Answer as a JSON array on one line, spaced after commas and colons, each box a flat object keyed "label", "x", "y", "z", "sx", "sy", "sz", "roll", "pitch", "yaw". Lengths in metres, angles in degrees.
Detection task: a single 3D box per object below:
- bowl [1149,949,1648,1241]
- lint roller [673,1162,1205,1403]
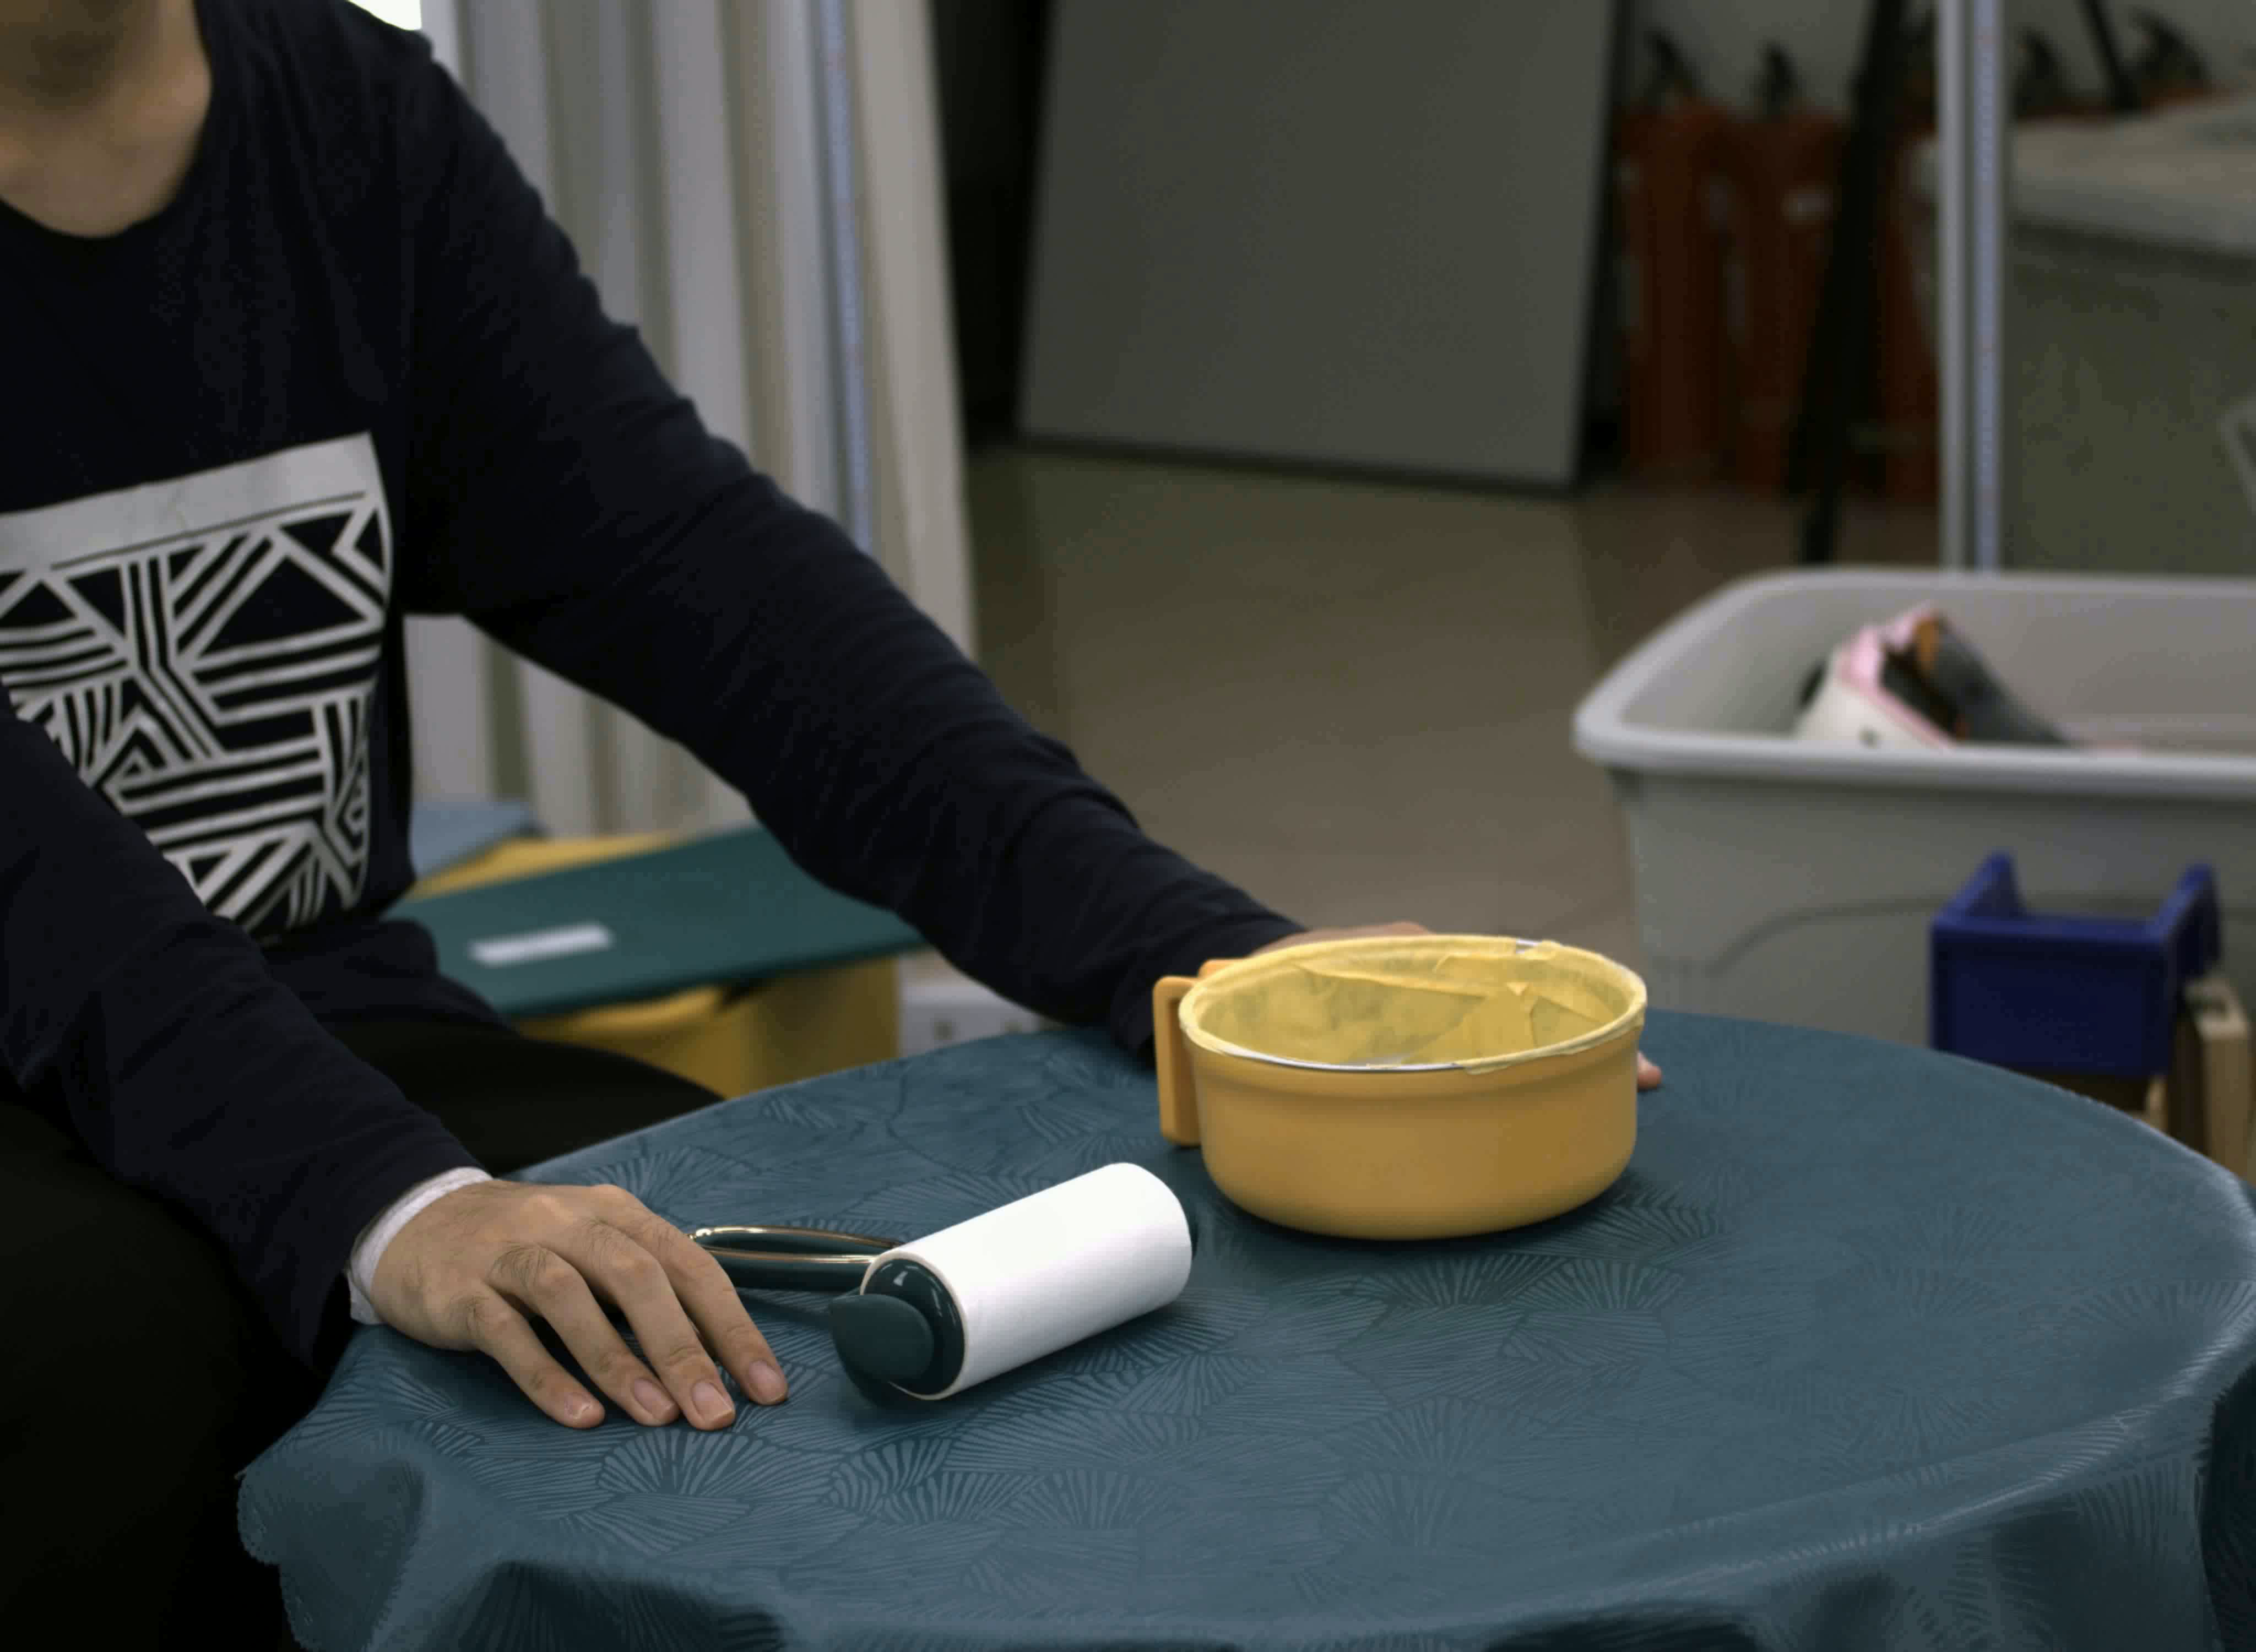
[{"label": "bowl", "x": 0.084, "y": 0.087, "z": 1.754, "sx": 0.180, "sy": 0.075, "sz": 0.150, "roll": 6, "pitch": 18, "yaw": 37}, {"label": "lint roller", "x": -0.079, "y": 0.134, "z": 1.666, "sx": 0.182, "sy": 0.049, "sz": 0.131, "roll": 3, "pitch": 15, "yaw": 44}]
